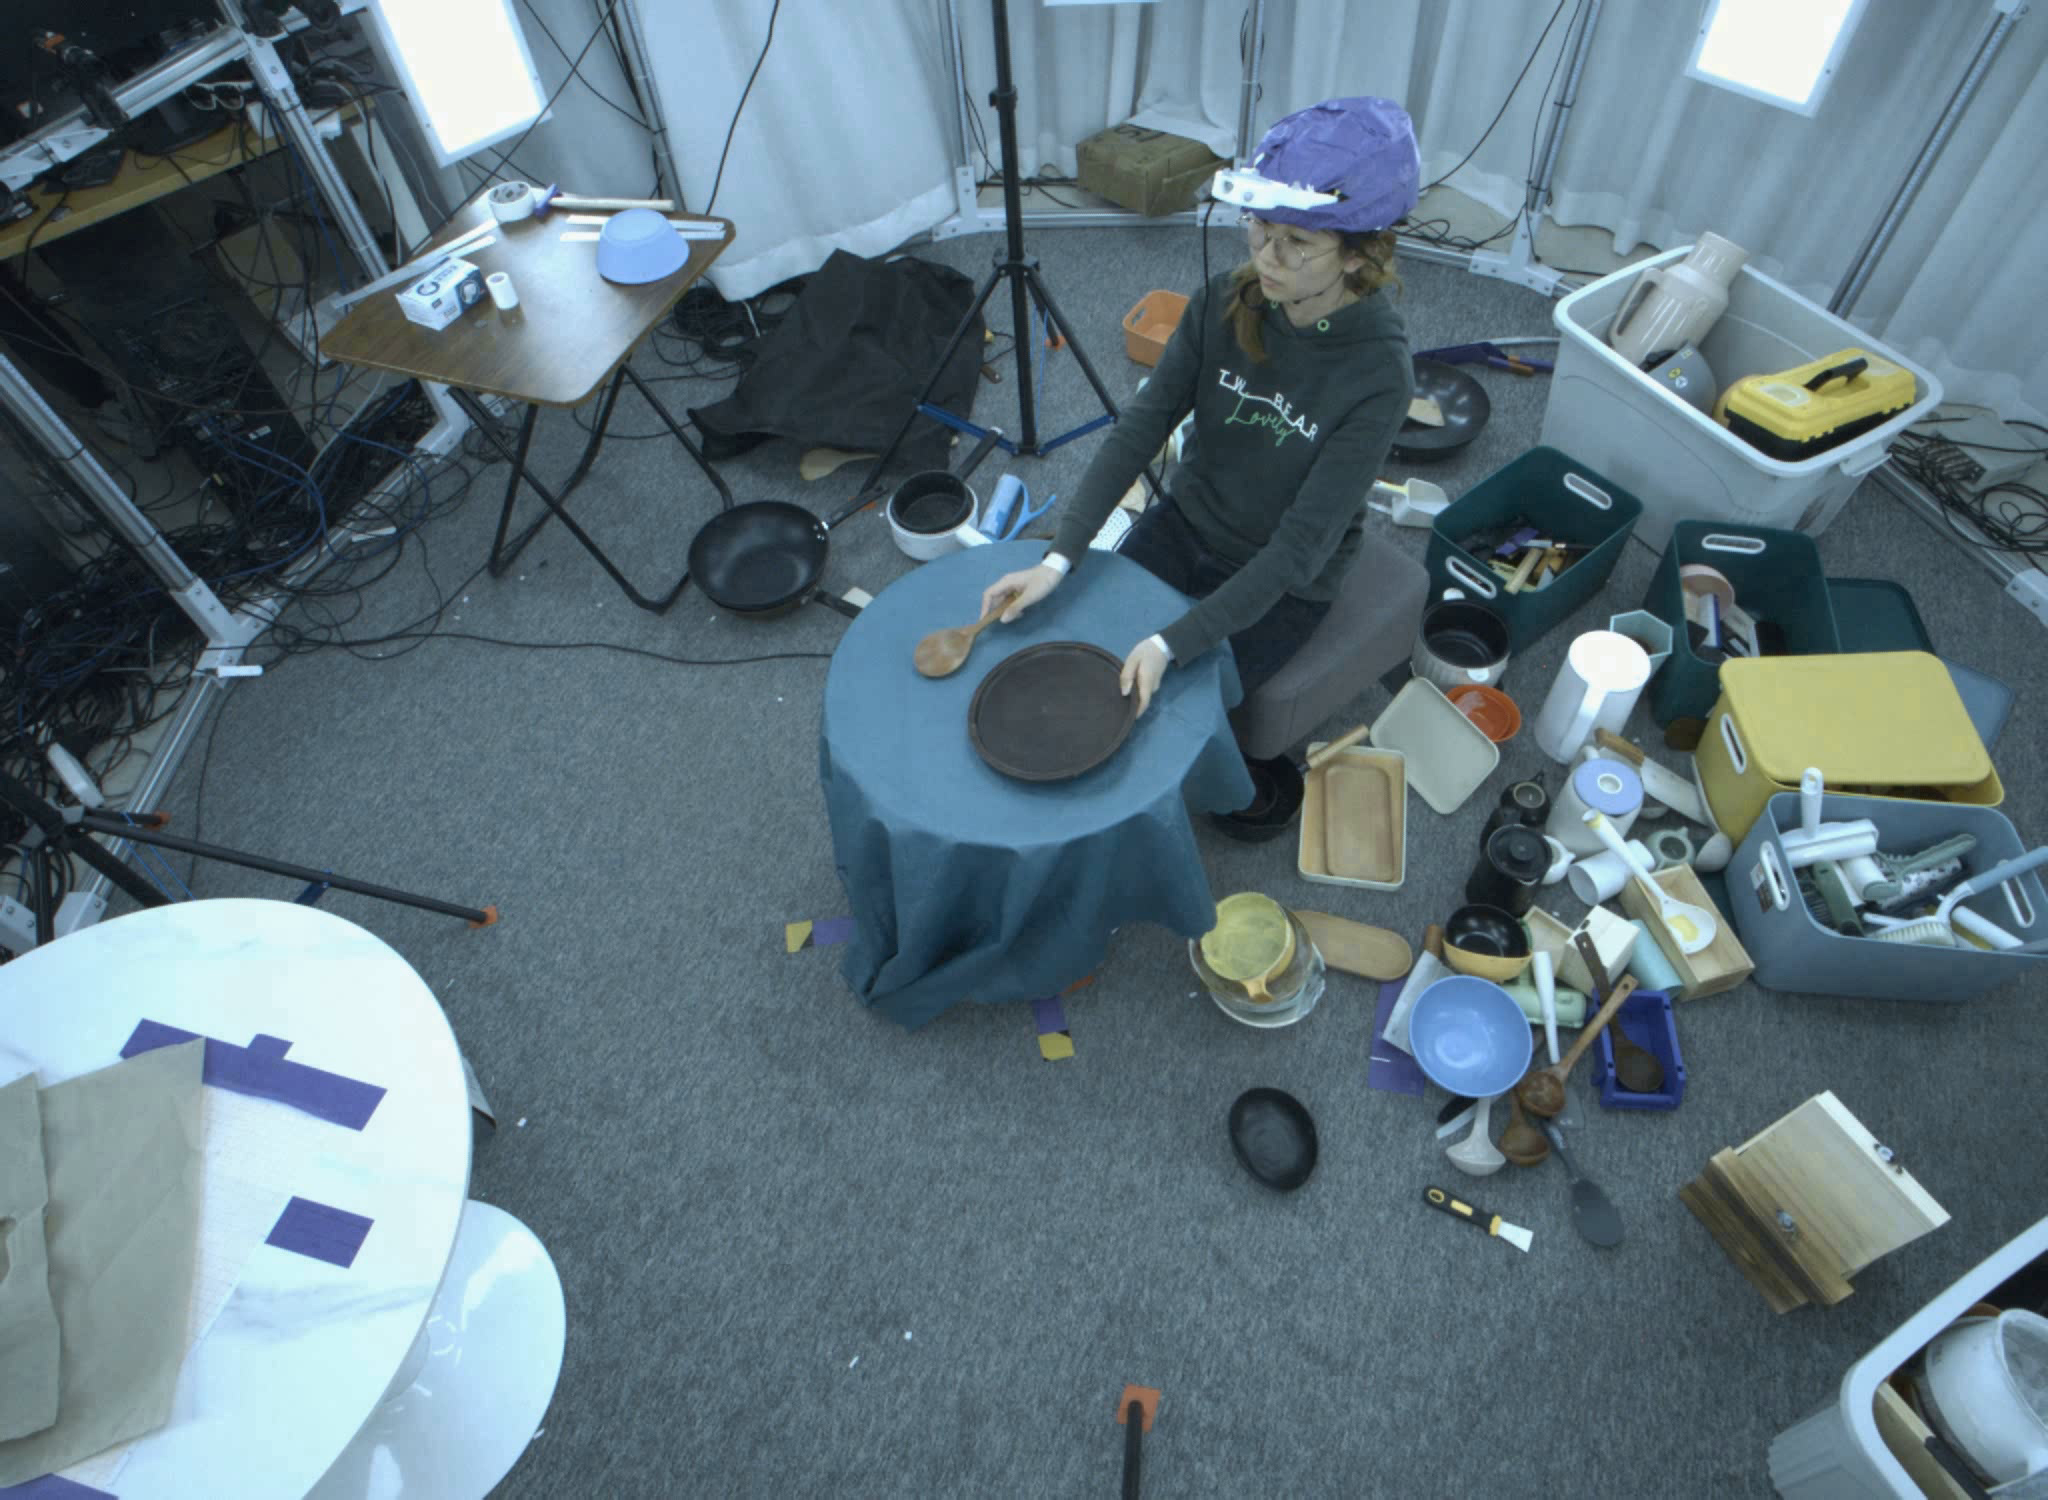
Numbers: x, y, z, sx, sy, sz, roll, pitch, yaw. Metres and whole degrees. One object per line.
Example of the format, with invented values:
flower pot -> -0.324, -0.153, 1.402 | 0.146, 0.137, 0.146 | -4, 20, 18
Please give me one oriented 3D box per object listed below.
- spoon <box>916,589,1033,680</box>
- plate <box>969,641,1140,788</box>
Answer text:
spoon -> -0.073, -0.181, 1.899 | 0.217, 0.017, 0.074 | -38, 73, -11
plate -> 0.044, -0.052, 1.799 | 0.253, 0.029, 0.252 | -5, 57, 9
